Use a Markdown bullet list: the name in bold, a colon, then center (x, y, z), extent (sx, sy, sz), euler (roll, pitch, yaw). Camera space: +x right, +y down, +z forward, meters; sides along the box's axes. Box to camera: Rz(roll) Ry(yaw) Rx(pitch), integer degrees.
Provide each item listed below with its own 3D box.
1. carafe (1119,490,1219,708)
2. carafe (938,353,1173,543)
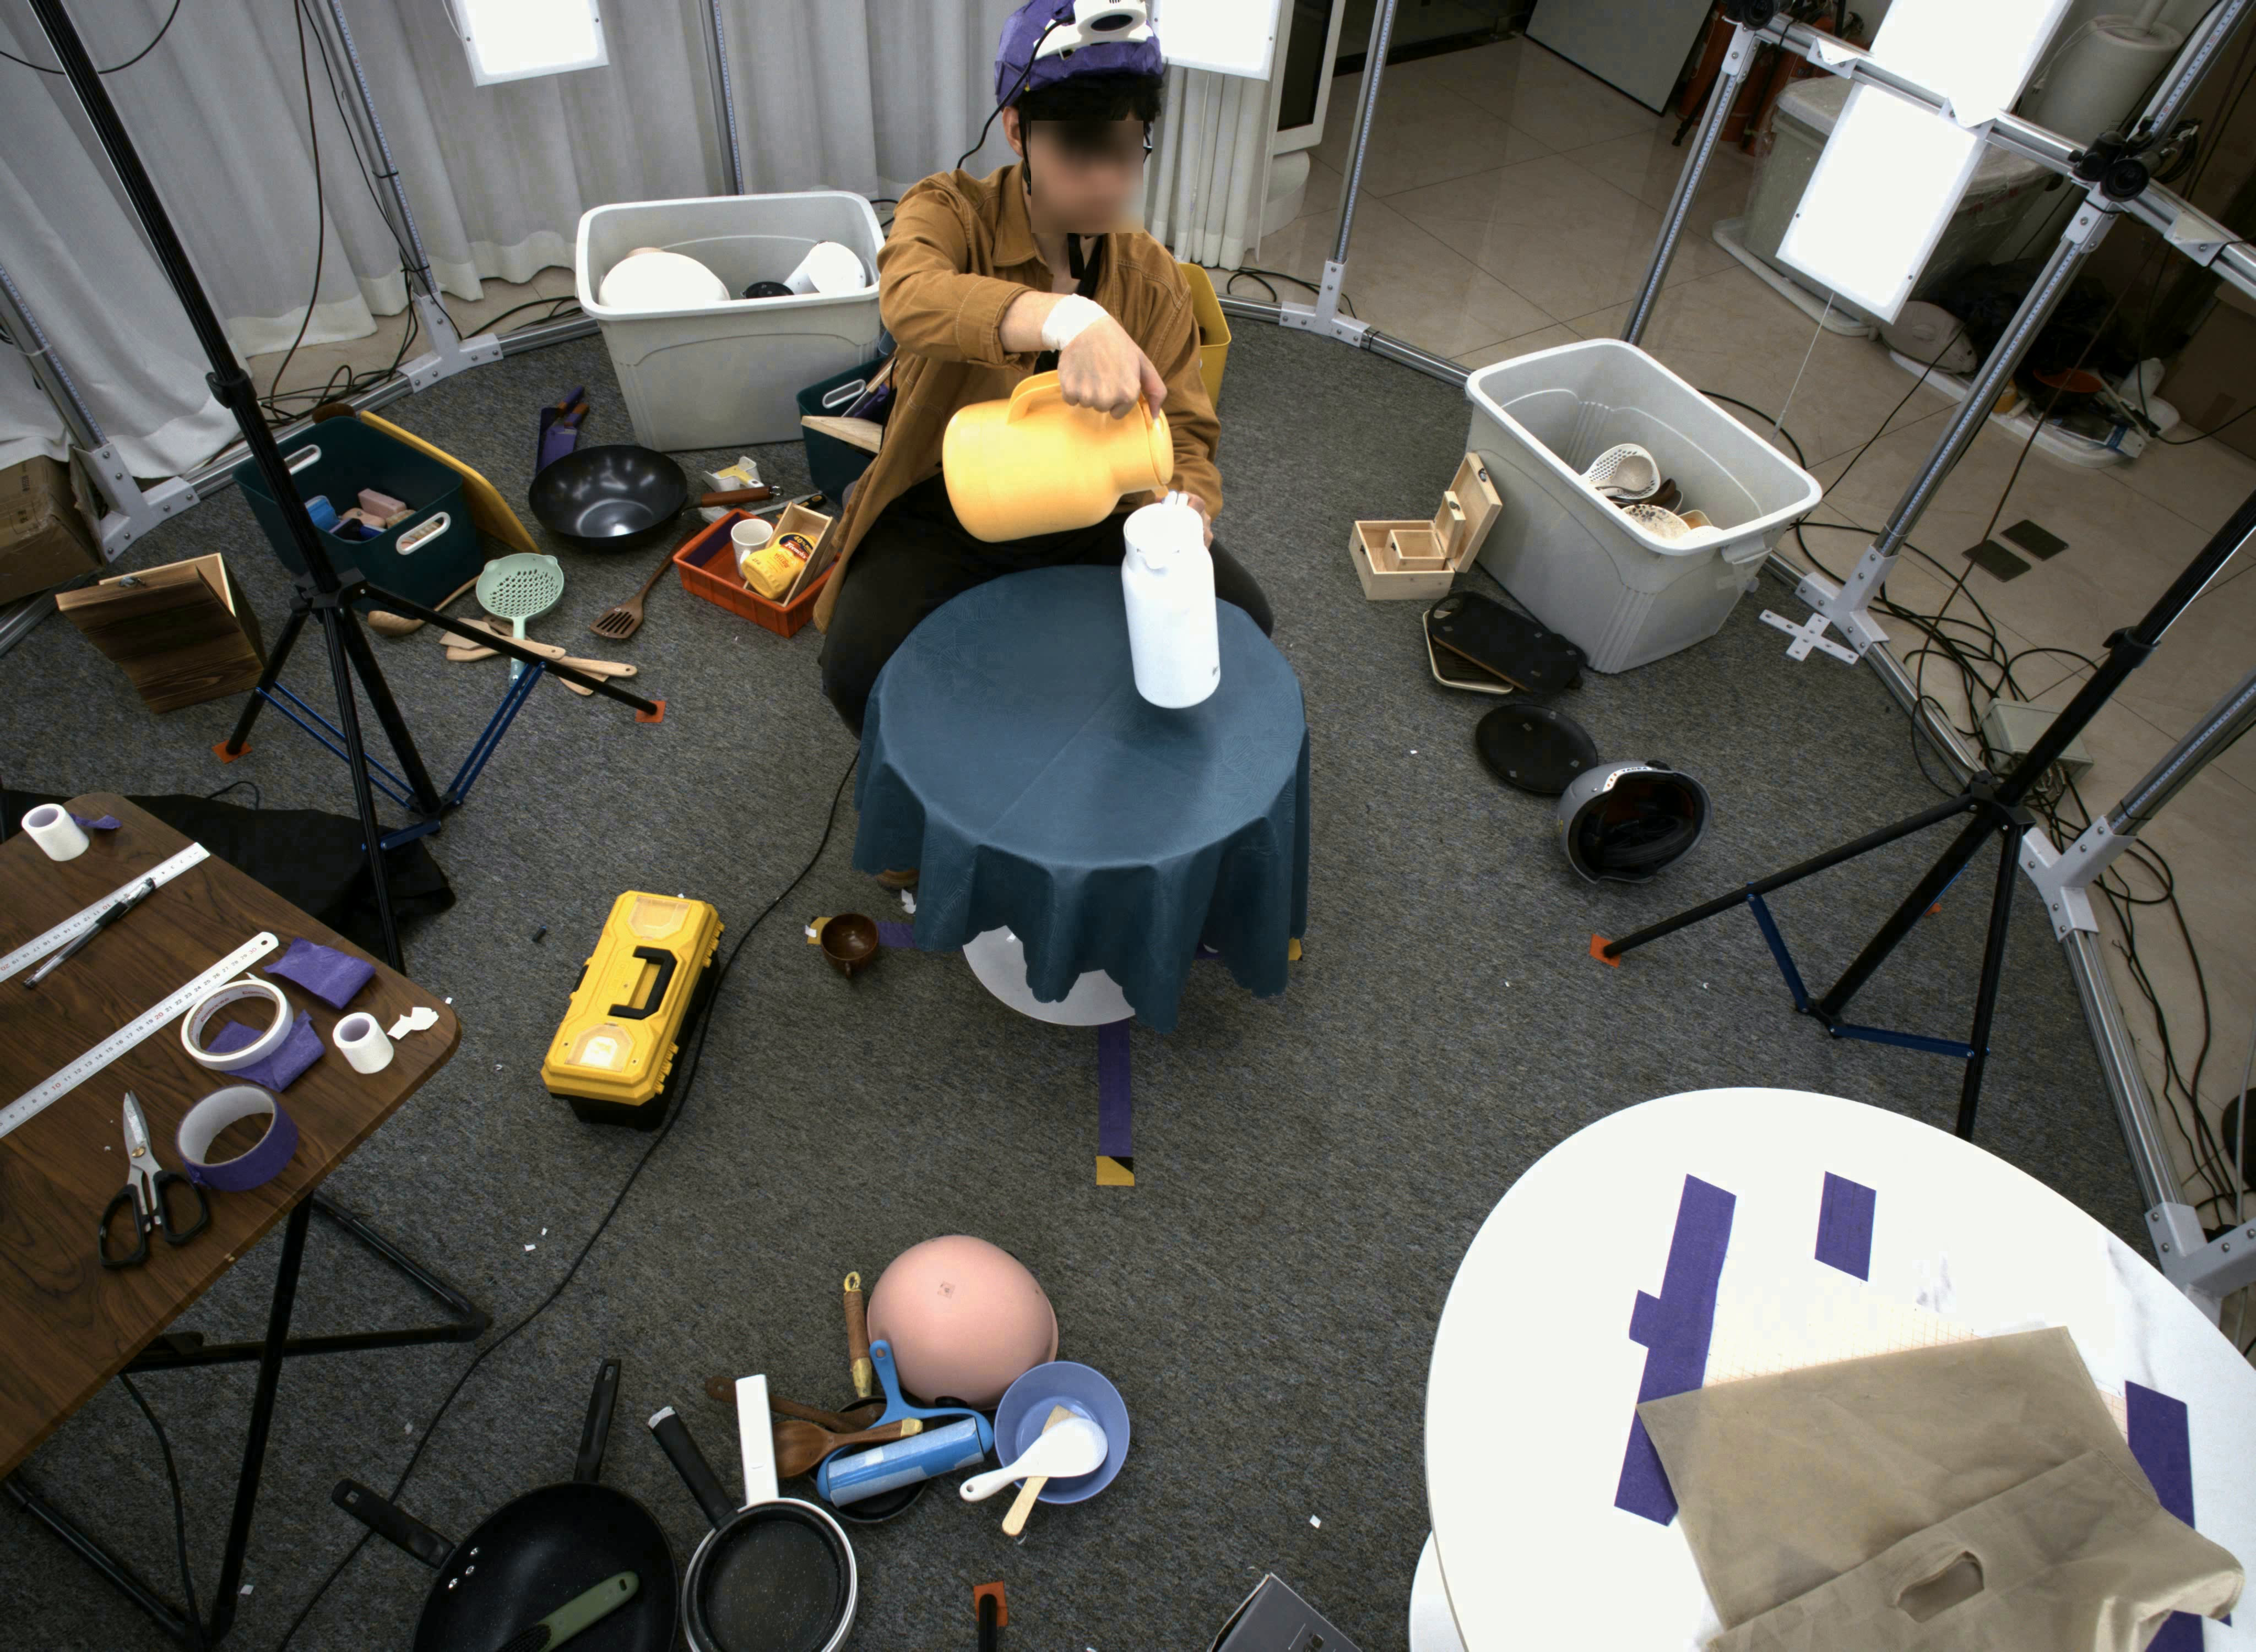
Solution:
- **carafe**: center (0.056, -0.297, 1.678), extent (0.124, 0.262, 0.177), euler (2, 49, 13)
- **carafe**: center (-0.083, -0.437, 1.482), extent (0.260, 0.197, 0.167), euler (-8, 53, 11)
